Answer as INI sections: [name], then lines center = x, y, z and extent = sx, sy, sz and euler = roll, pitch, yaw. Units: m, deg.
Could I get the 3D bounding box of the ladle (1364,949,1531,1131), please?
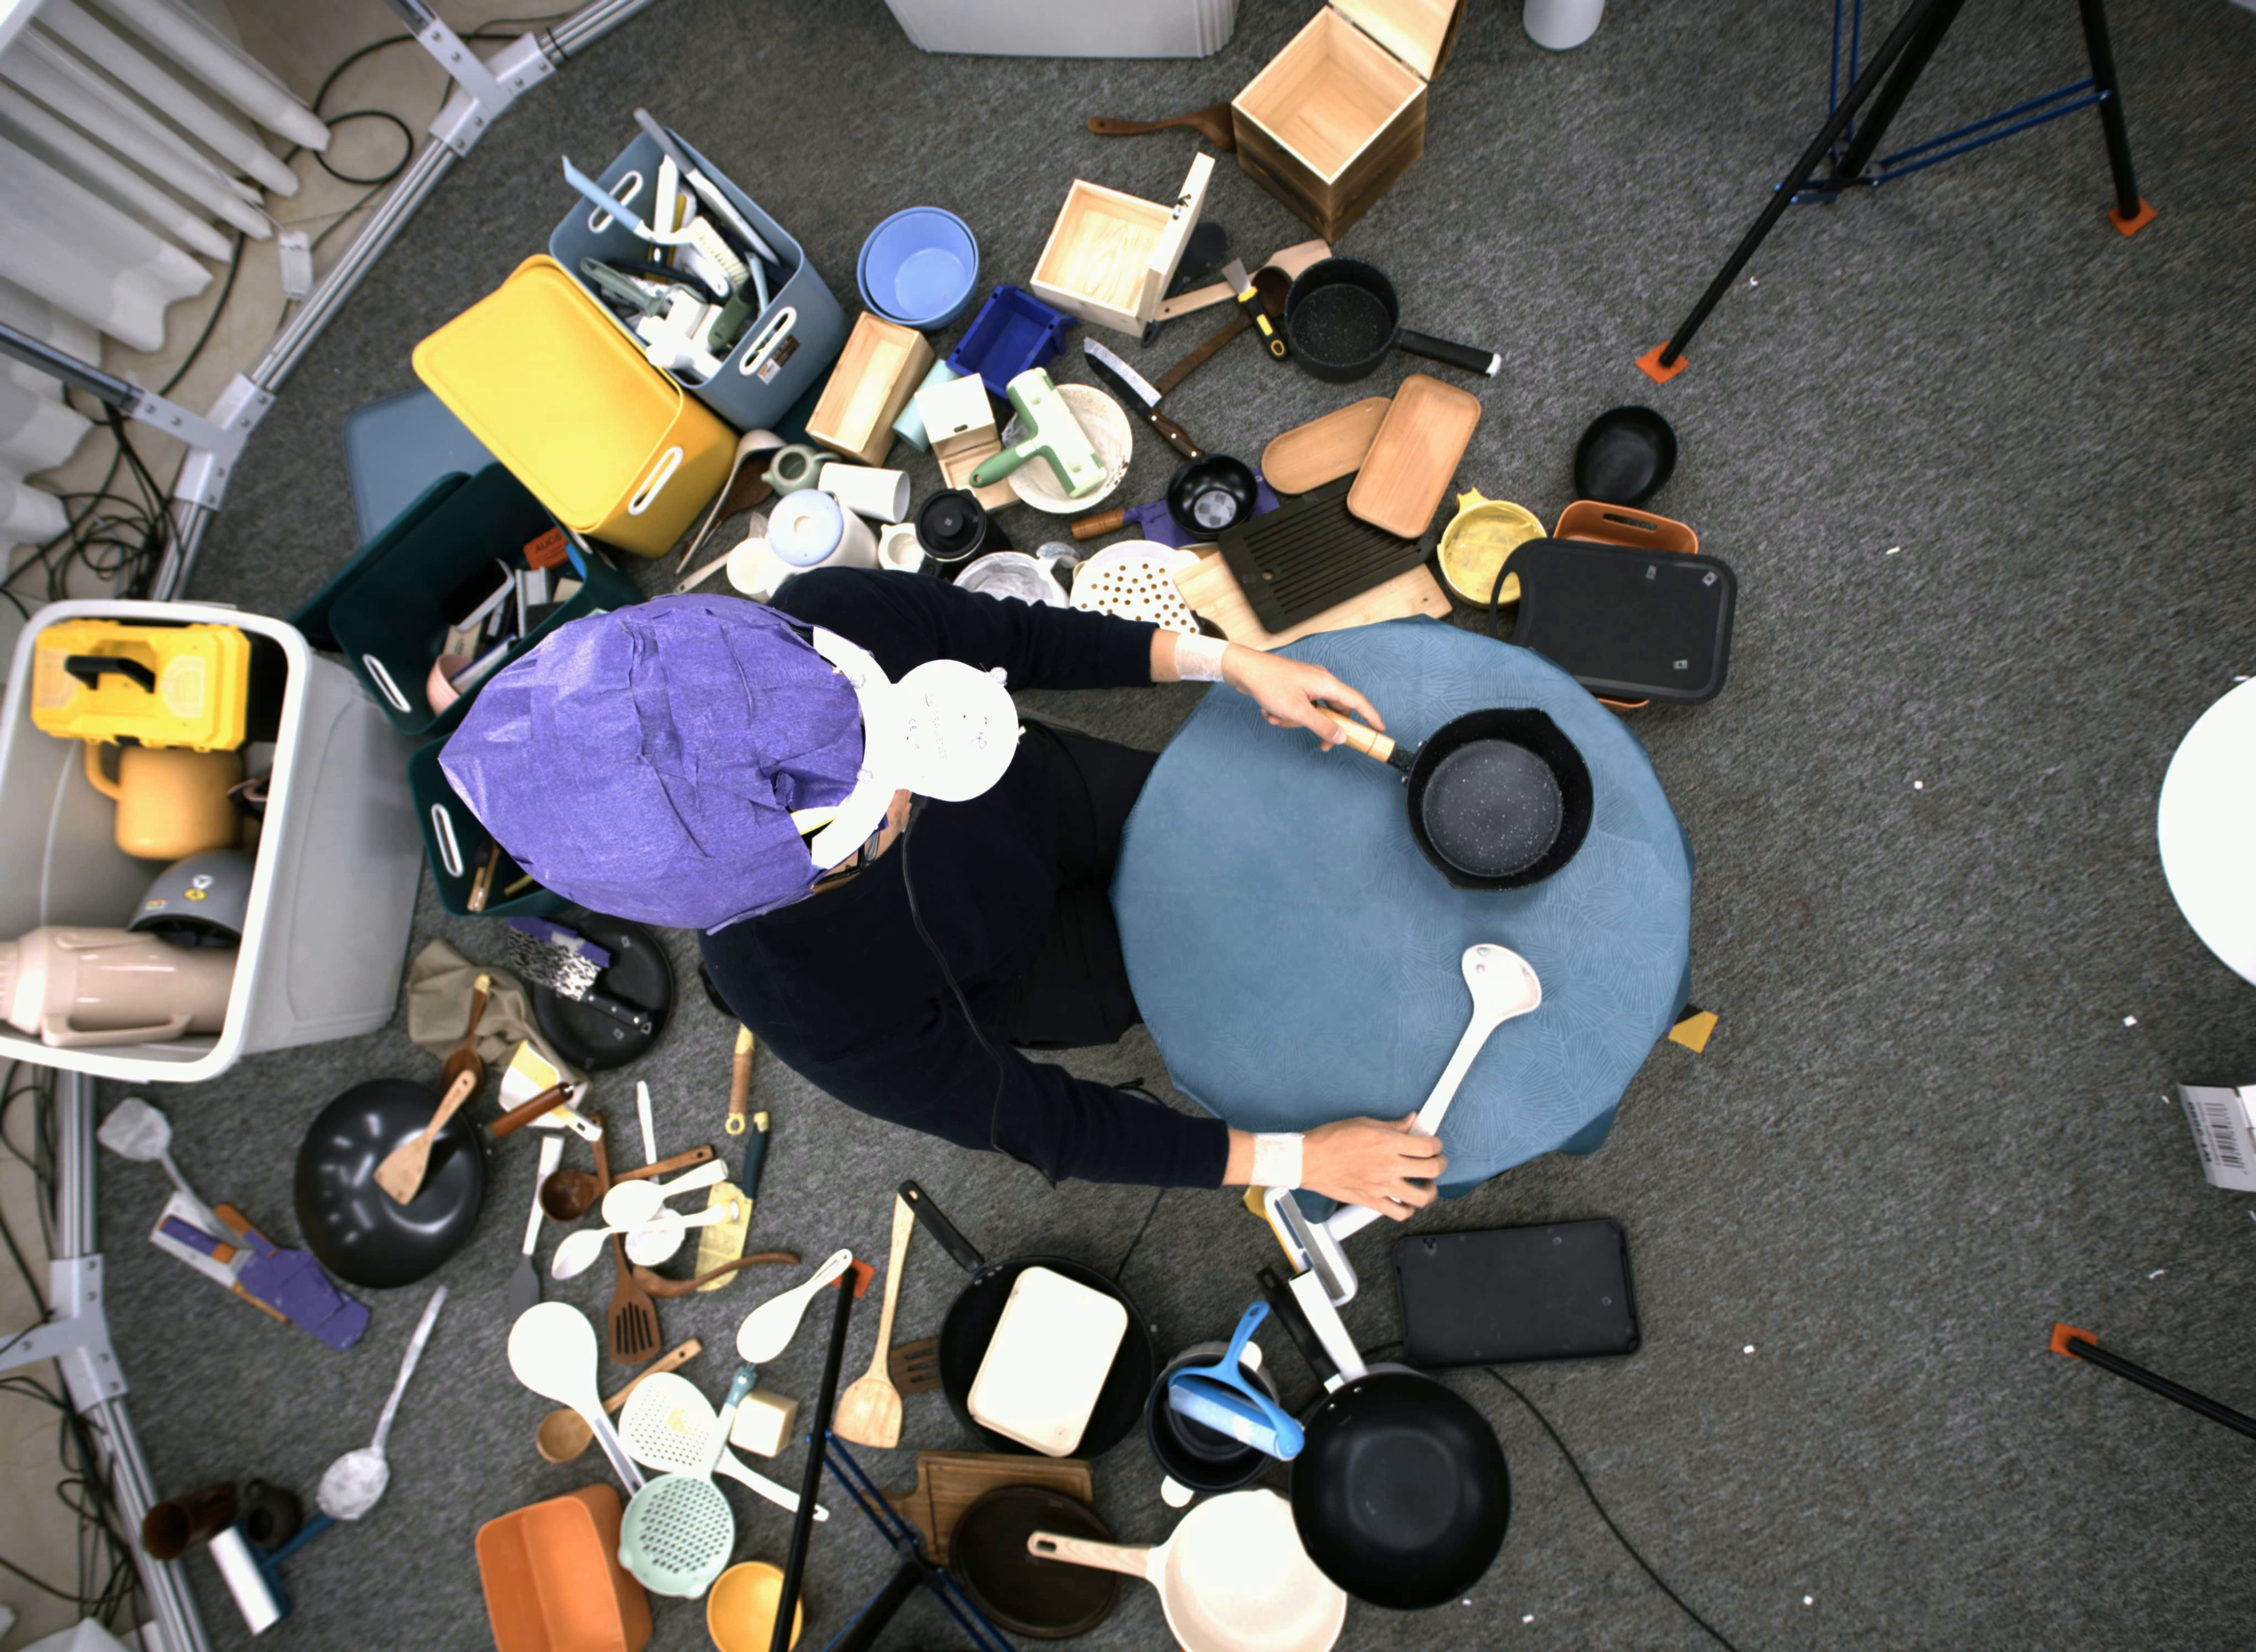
[ladle]
center = 0.315, 0.234, 1.448
extent = 0.281, 0.069, 0.087
euler = -51, 44, 32

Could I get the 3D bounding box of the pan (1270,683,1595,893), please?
[pan]
center = 0.302, -0.058, 1.406
extent = 0.342, 0.108, 0.208
euler = 24, 92, 10
